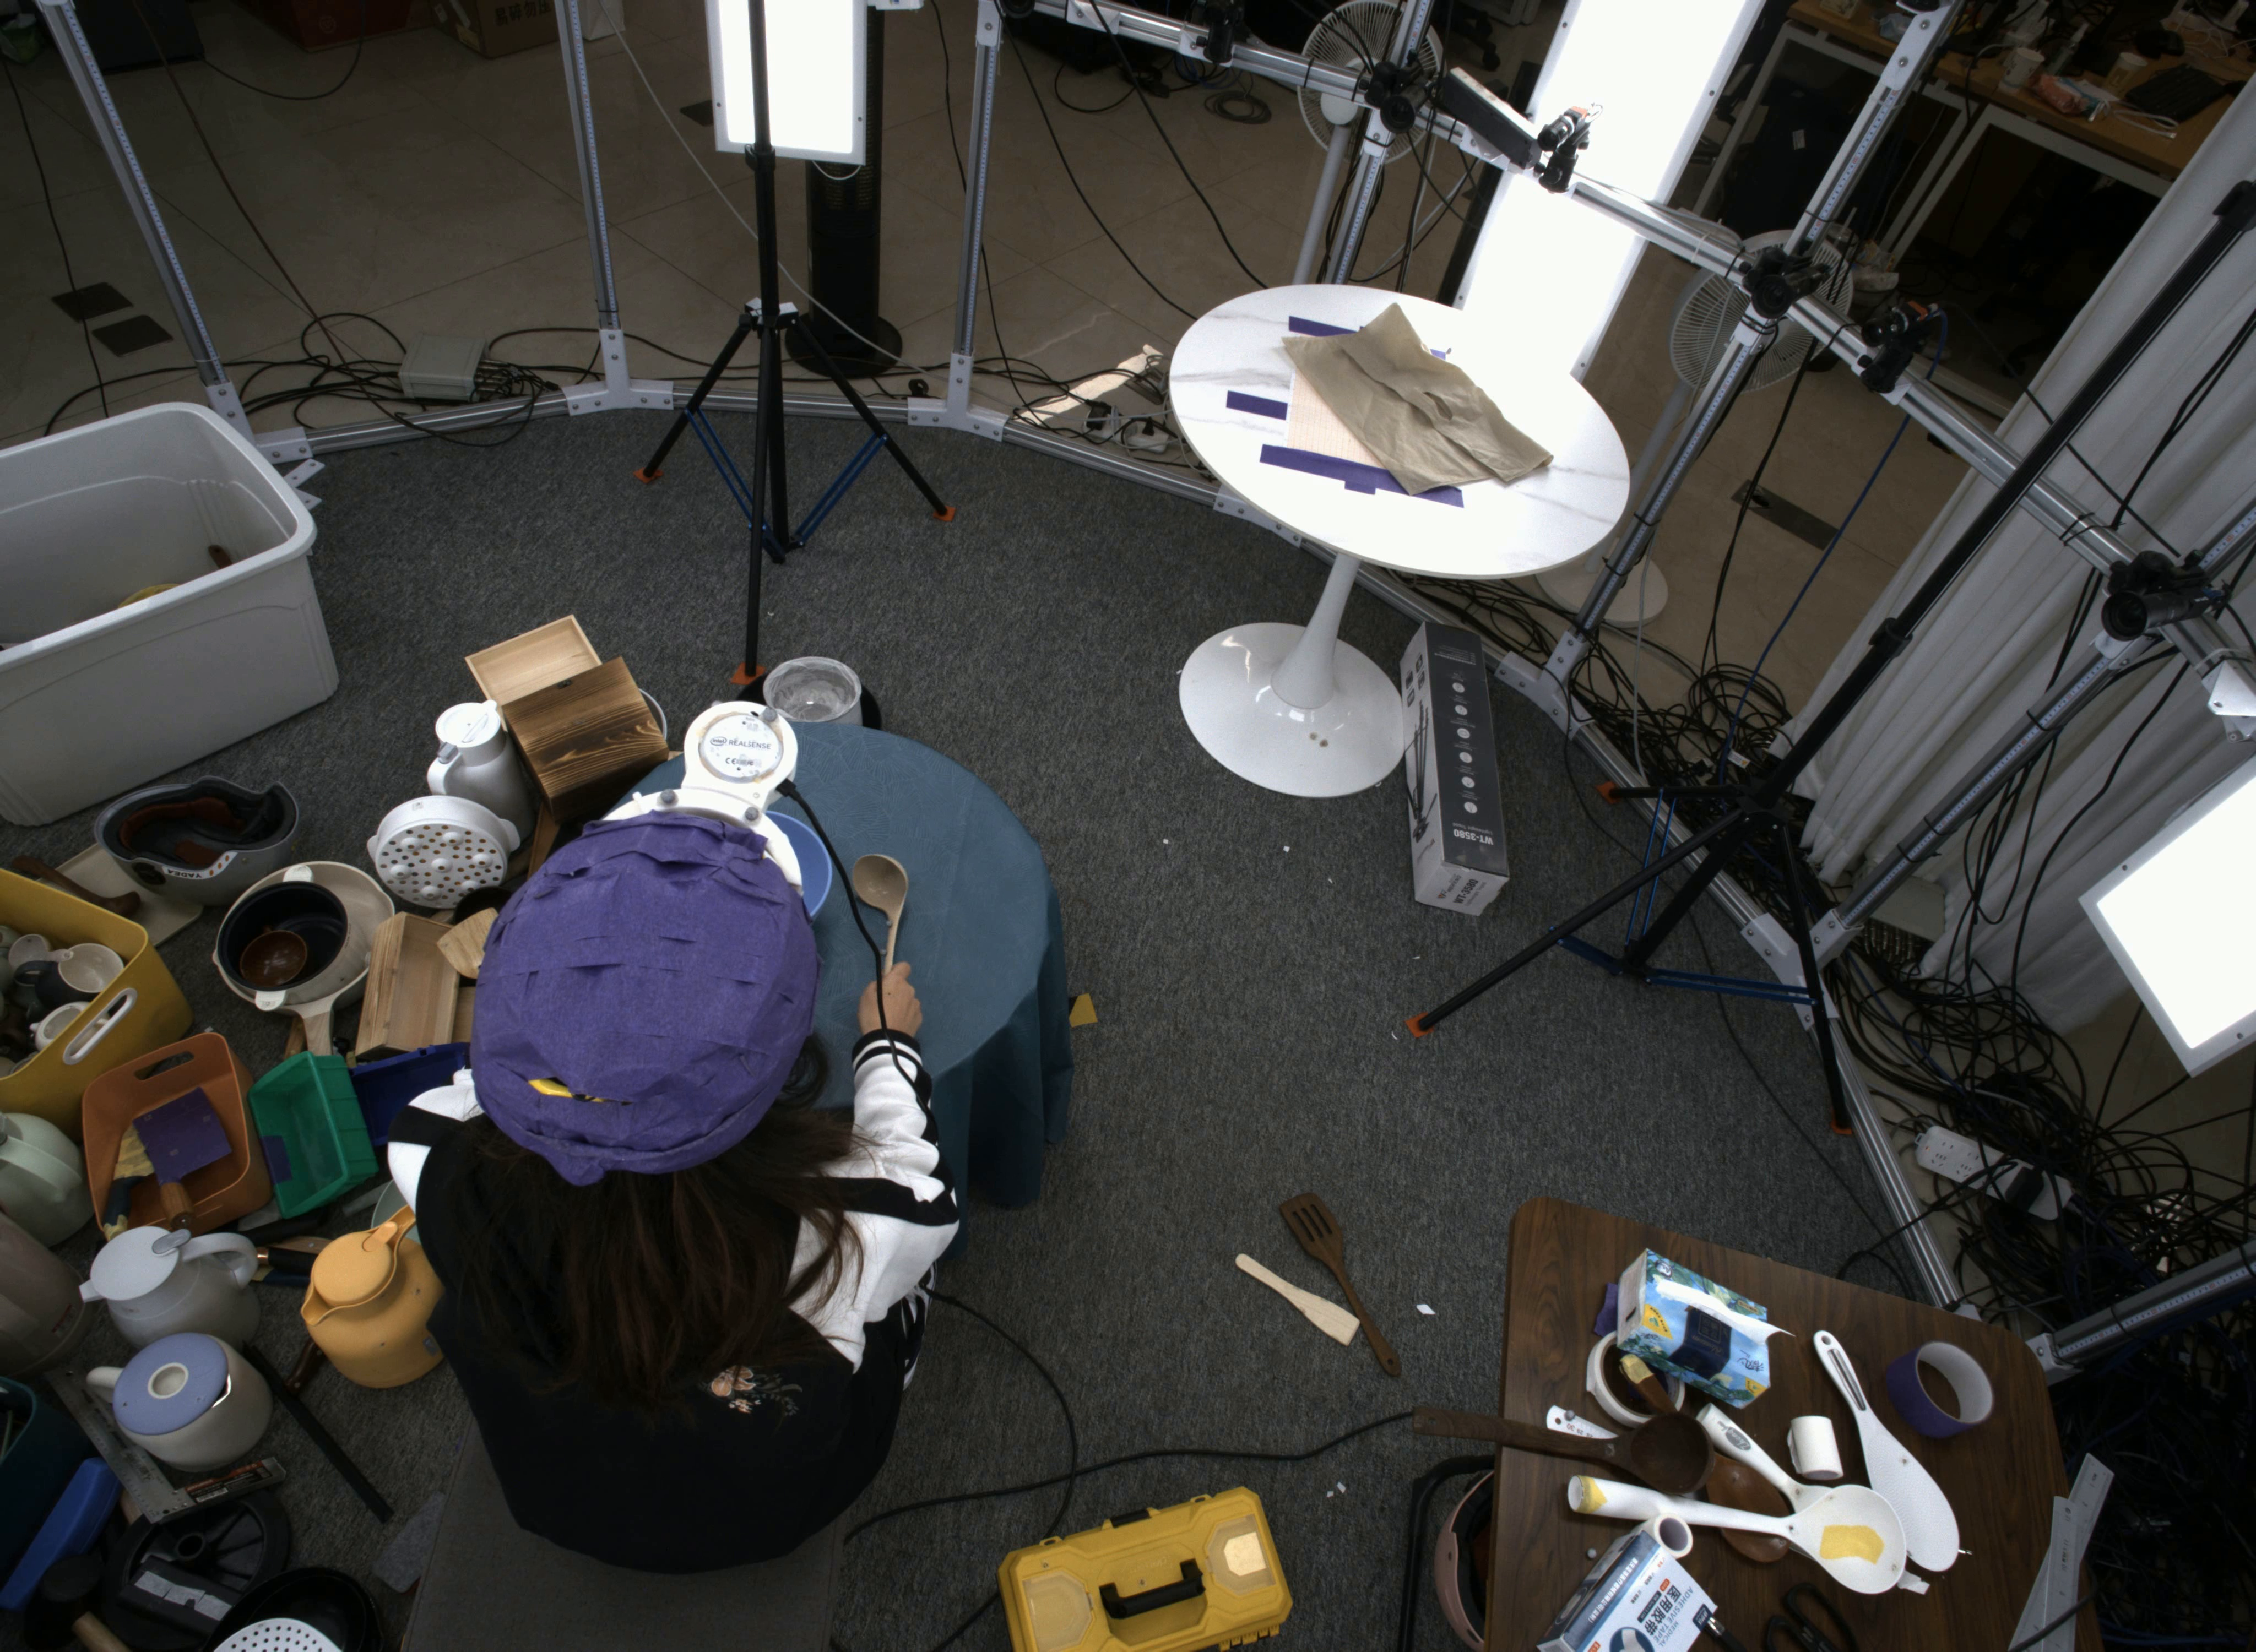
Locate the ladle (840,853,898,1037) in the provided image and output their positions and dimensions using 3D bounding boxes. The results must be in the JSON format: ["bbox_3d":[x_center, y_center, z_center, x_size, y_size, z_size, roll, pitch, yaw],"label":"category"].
[{"bbox_3d":[-0.316,0.136,1.578,0.071,0.075,0.248,-27,43,15],"label":"ladle"}]

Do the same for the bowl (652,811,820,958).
[{"bbox_3d":[-0.474,0.085,1.578,0.196,0.097,0.193,8,49,-7],"label":"bowl"}]
